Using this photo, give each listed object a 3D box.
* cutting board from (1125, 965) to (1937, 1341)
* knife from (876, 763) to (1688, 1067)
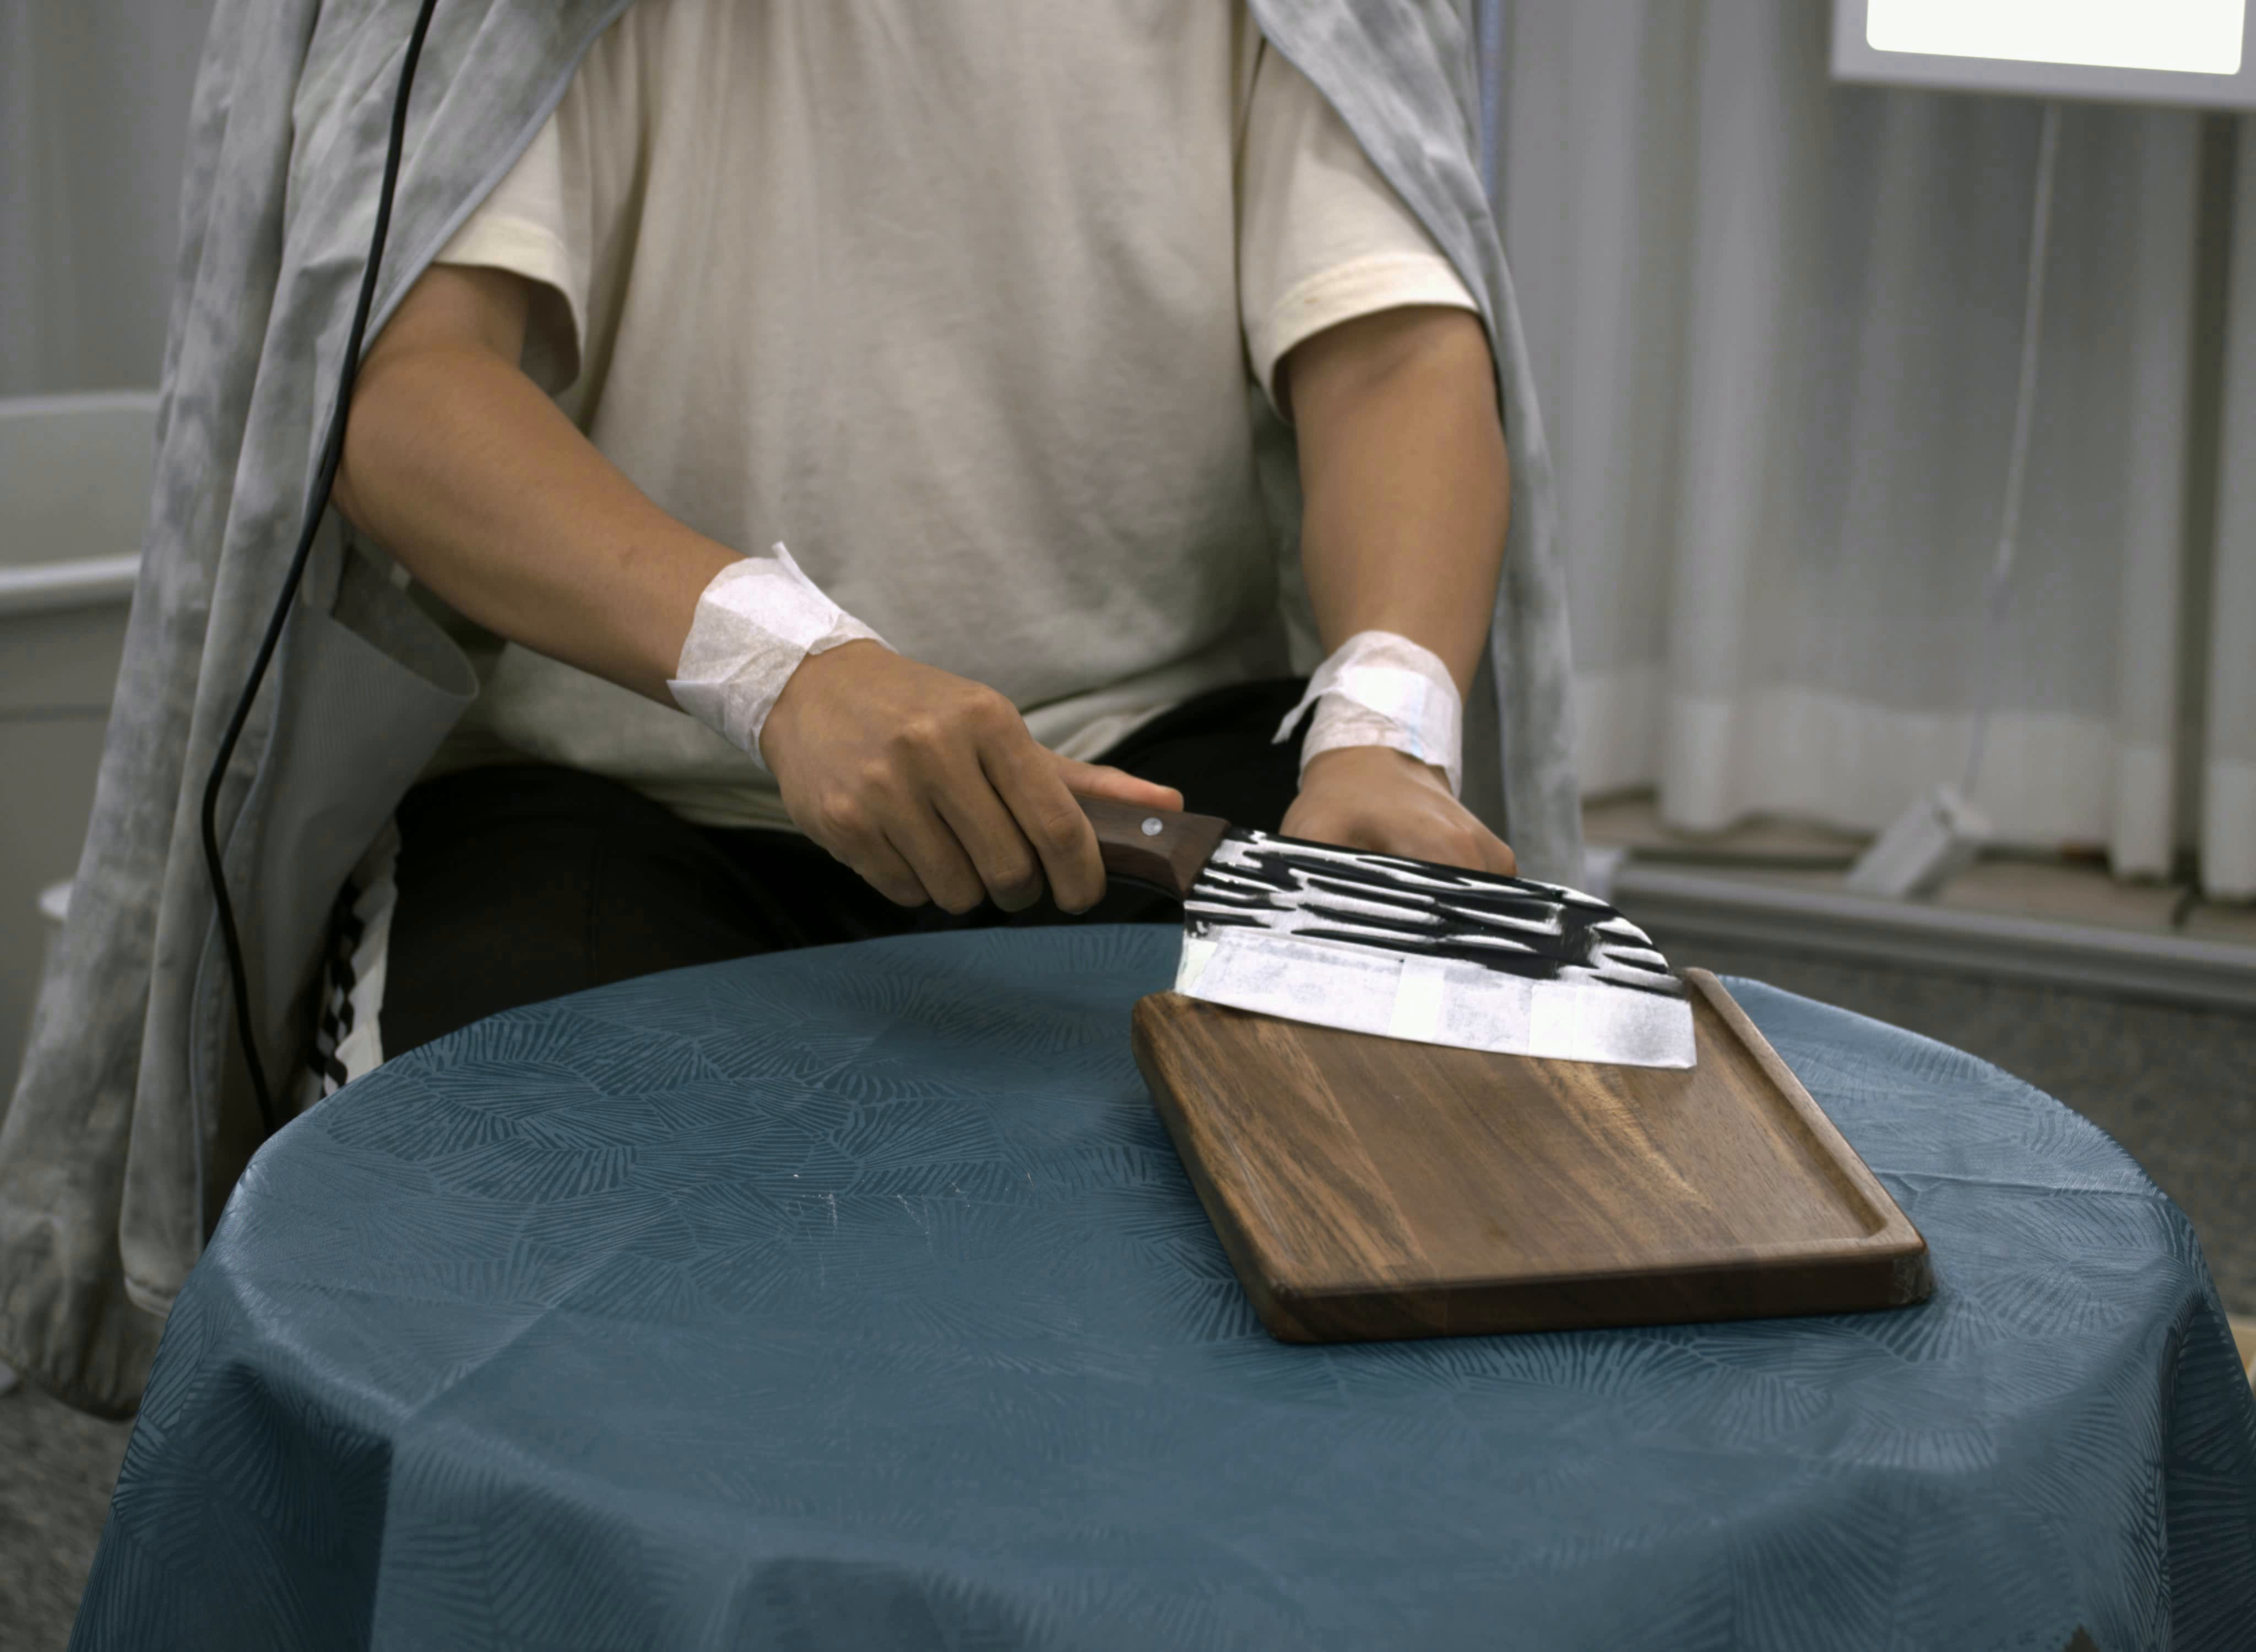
[{"bbox_3d":[0.109,0.081,1.671,0.201,0.023,0.349,-2,18,-10],"label":"cutting board"},{"bbox_3d":[0.046,0.030,1.727,0.297,0.024,0.068,11,60,18],"label":"knife"}]
